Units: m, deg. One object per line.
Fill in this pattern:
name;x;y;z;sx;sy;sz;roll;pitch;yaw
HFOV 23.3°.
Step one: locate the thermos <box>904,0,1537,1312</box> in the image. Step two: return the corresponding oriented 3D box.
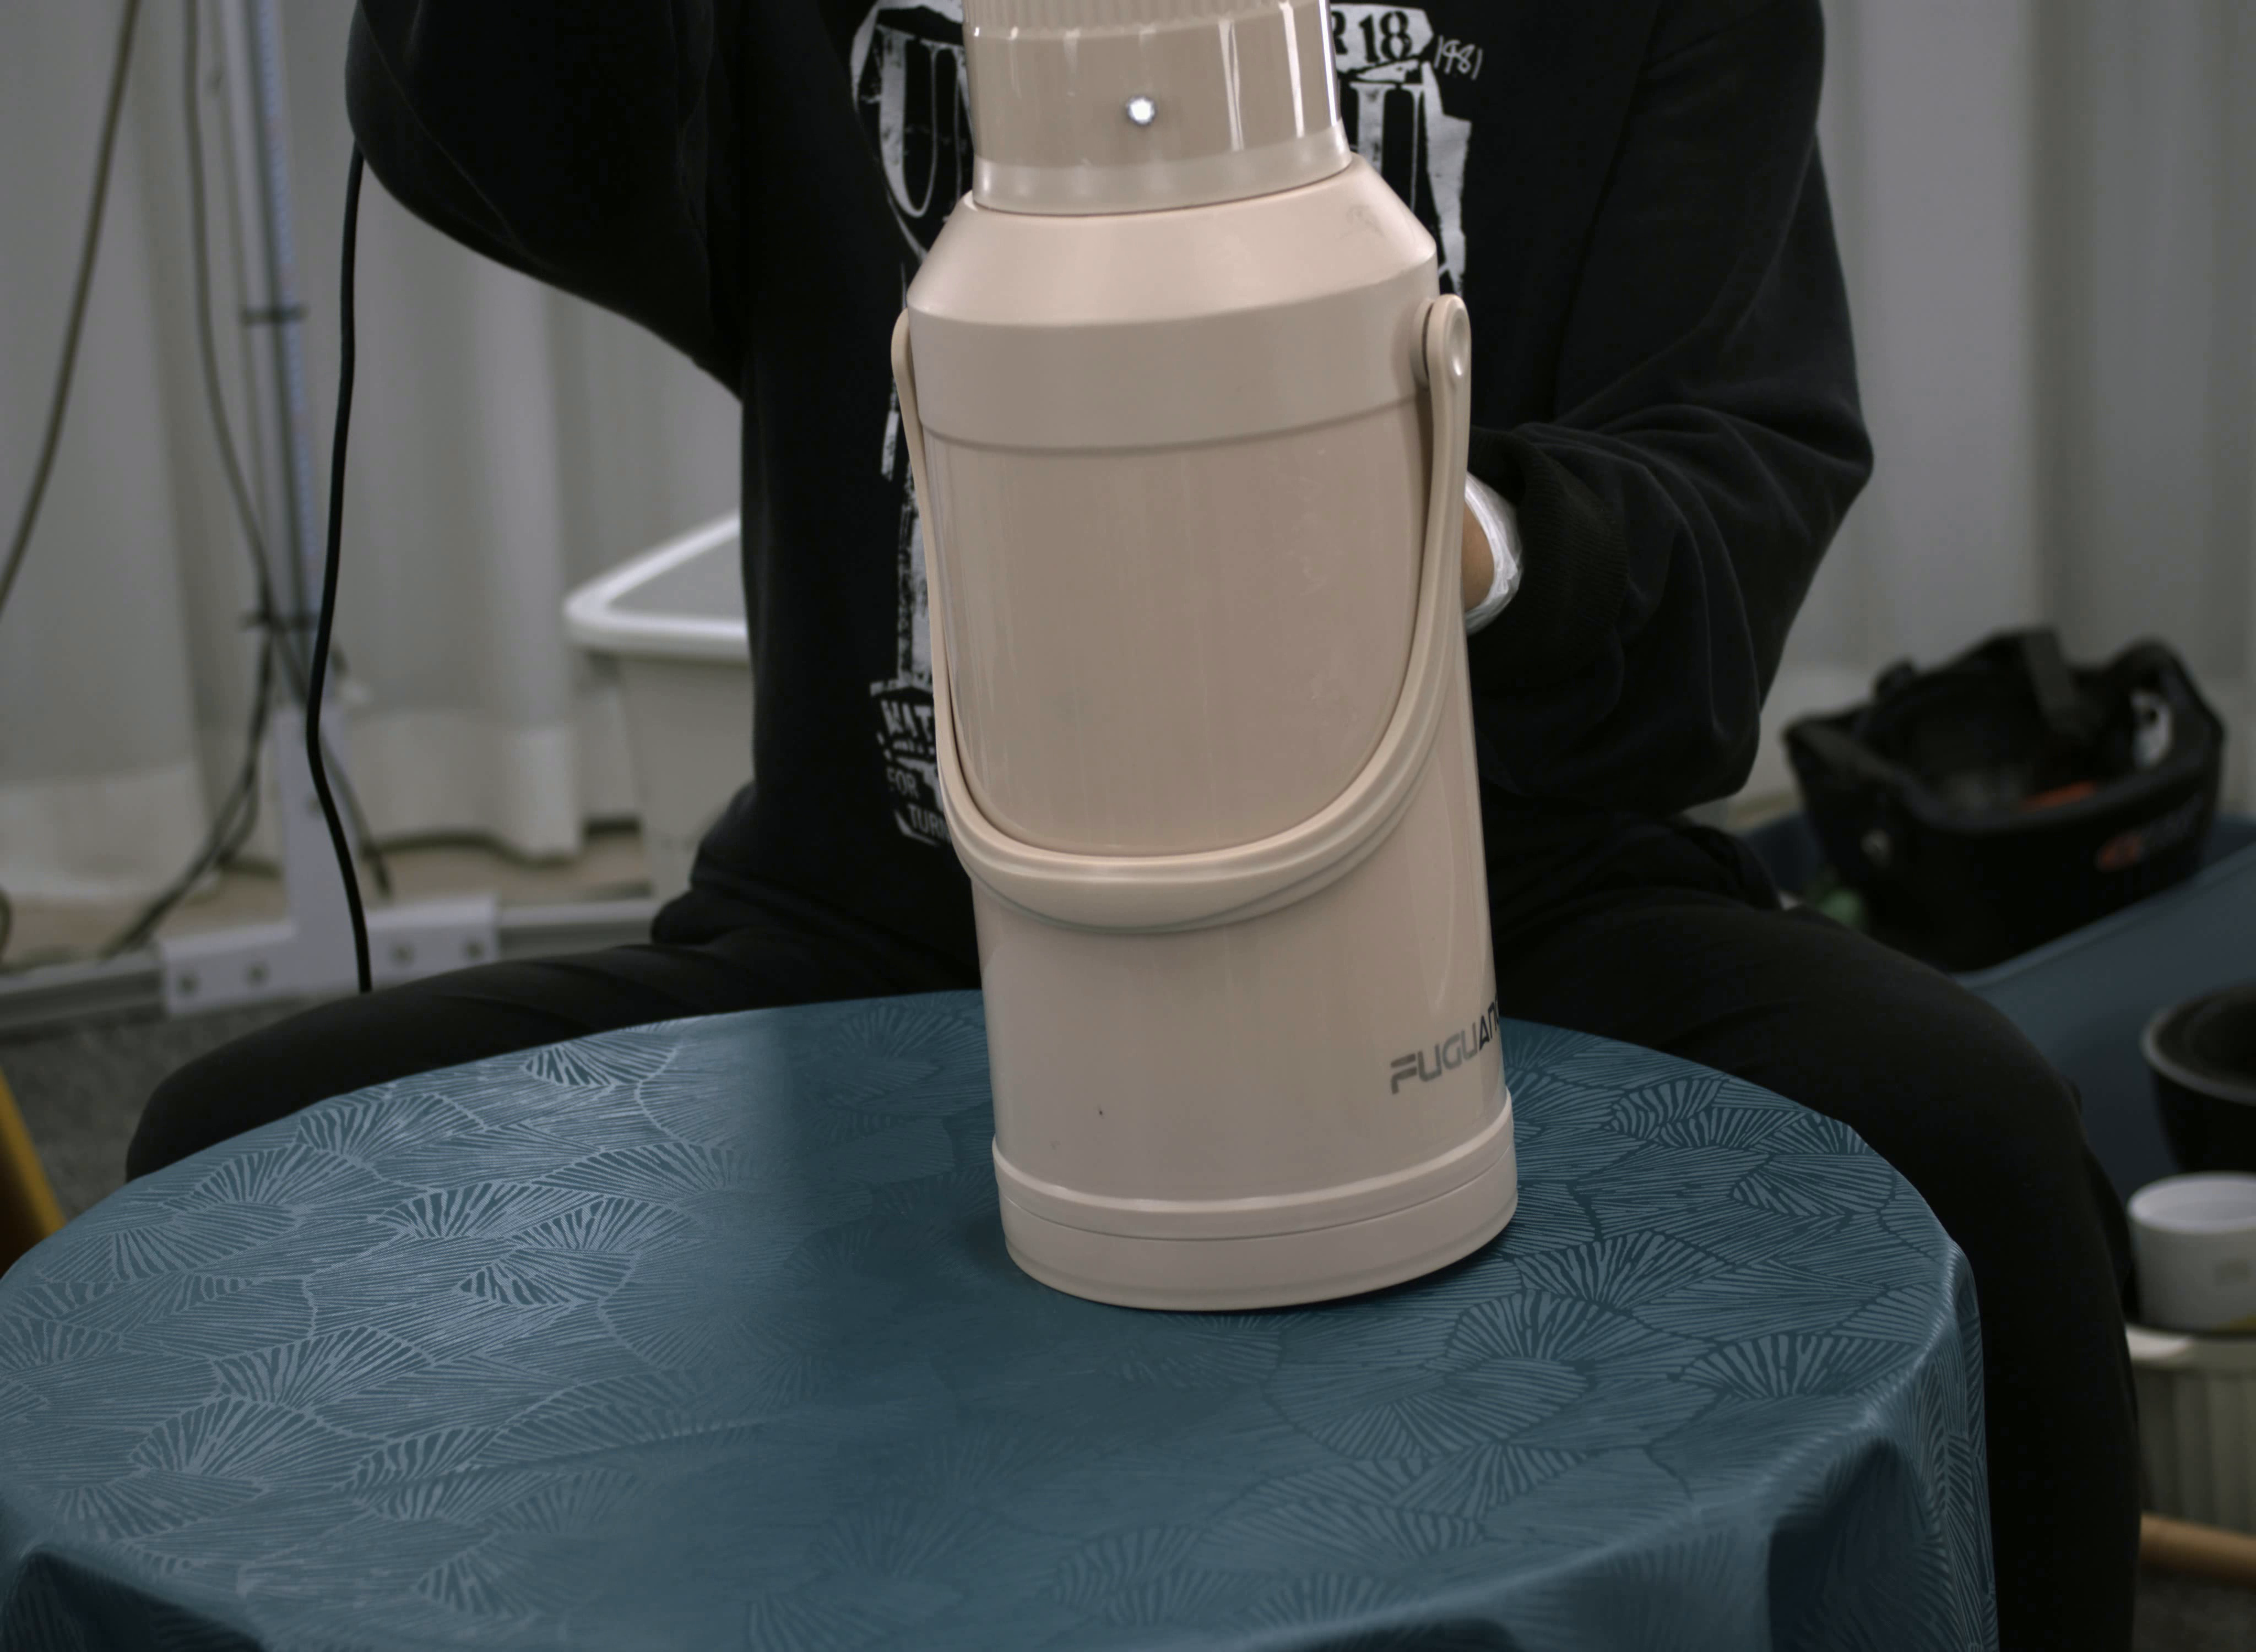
thermos;0.032;-0.074;1.638;0.175;0.404;0.208;-1;15;23
